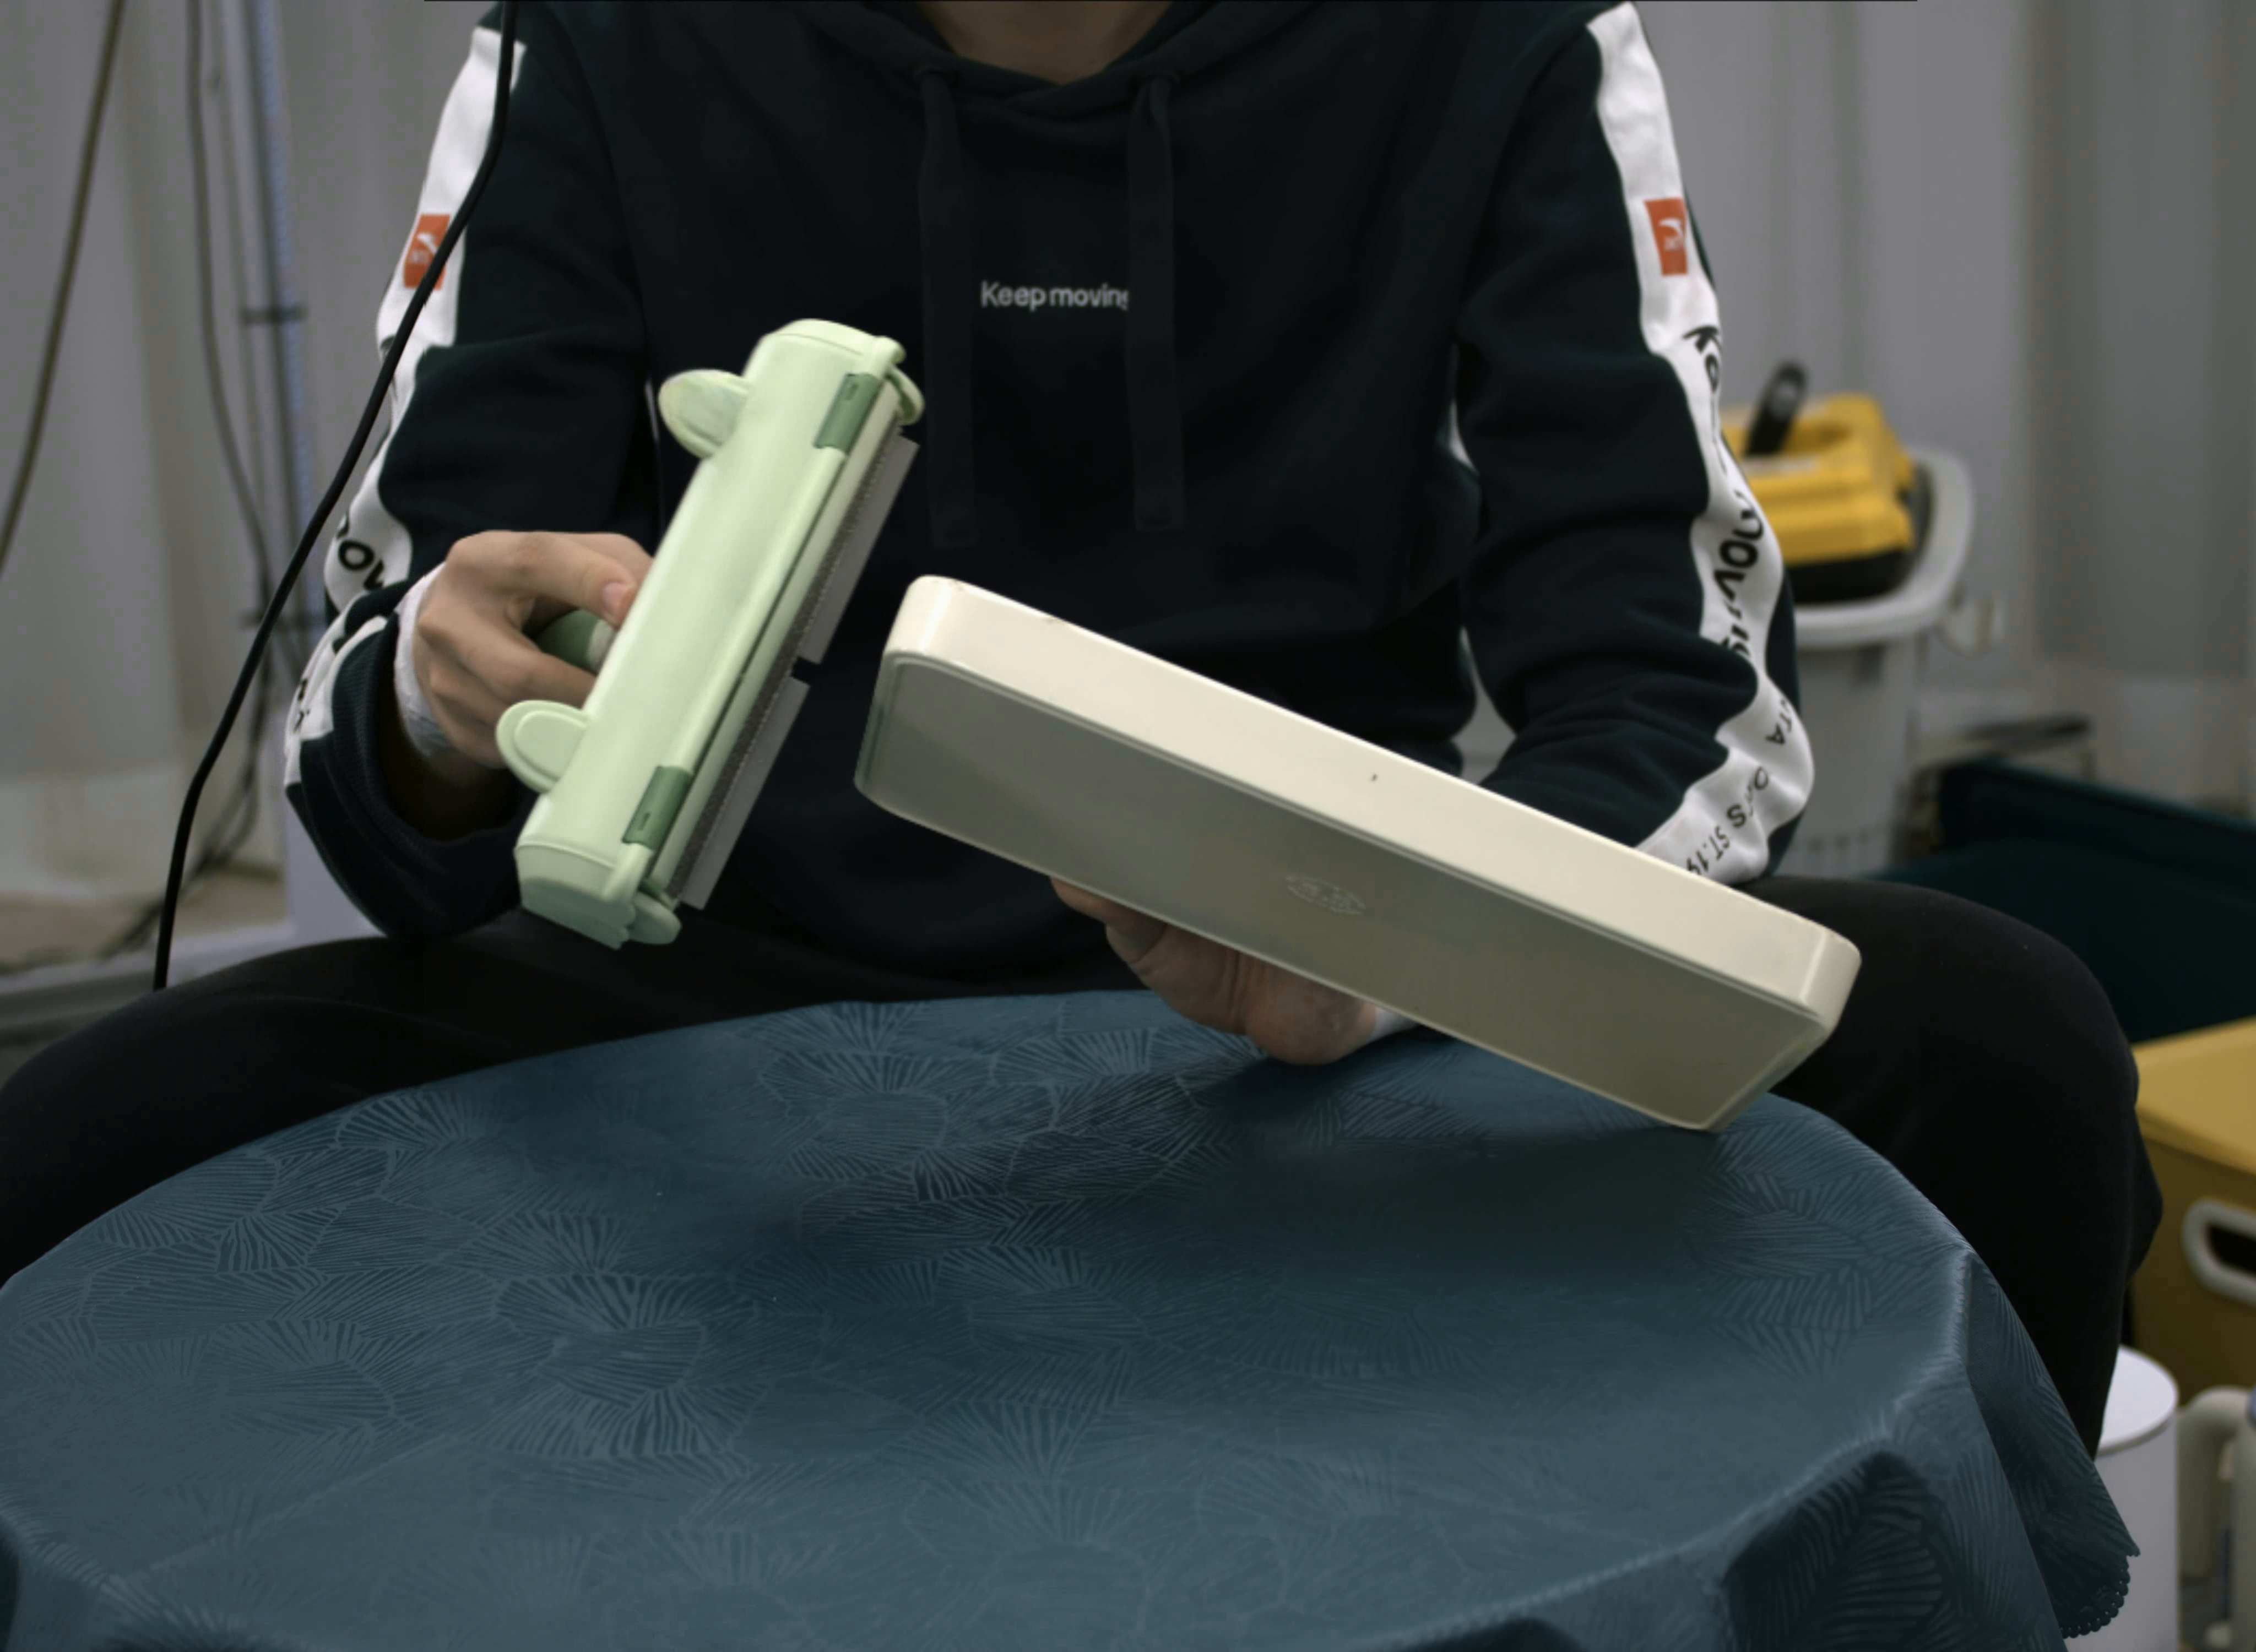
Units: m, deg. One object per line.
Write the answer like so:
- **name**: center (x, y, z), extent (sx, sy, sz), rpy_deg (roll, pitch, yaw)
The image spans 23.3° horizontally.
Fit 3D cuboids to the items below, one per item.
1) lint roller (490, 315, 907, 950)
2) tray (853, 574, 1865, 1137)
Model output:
- **lint roller**: center (-0.162, -0.061, 1.677), extent (0.081, 0.200, 0.184), rpy_deg (35, -21, -32)
- **tray**: center (0.063, 0.014, 1.660), extent (0.299, 0.027, 0.190), rpy_deg (22, -16, 0)
